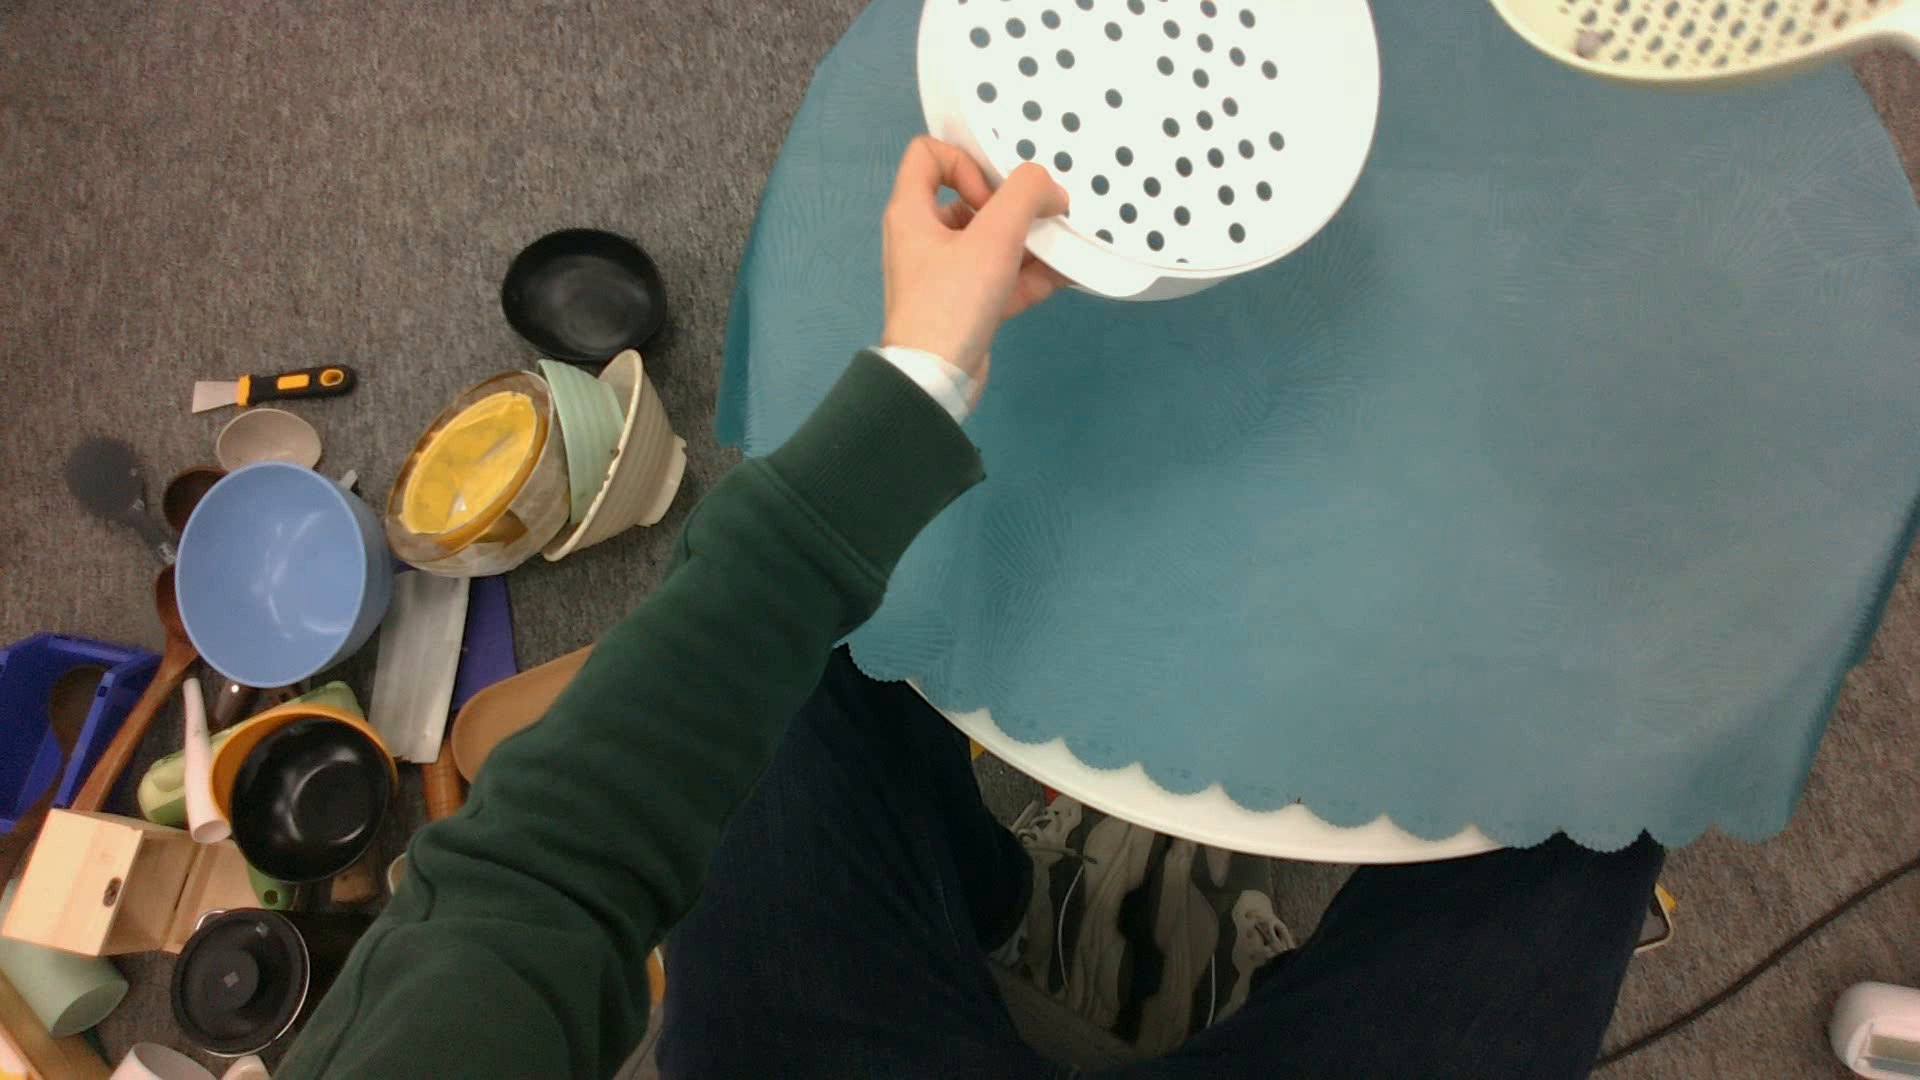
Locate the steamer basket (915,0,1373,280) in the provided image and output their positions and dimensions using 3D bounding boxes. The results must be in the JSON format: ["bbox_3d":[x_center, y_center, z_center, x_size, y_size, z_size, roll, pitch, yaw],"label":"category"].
[{"bbox_3d":[0.079,-0.215,0.608,0.202,0.069,0.231,26,77,-14],"label":"steamer basket"}]

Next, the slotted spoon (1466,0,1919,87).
[{"bbox_3d":[0.273,-0.156,0.401,0.168,0.075,0.360,-40,49,28],"label":"slotted spoon"}]
